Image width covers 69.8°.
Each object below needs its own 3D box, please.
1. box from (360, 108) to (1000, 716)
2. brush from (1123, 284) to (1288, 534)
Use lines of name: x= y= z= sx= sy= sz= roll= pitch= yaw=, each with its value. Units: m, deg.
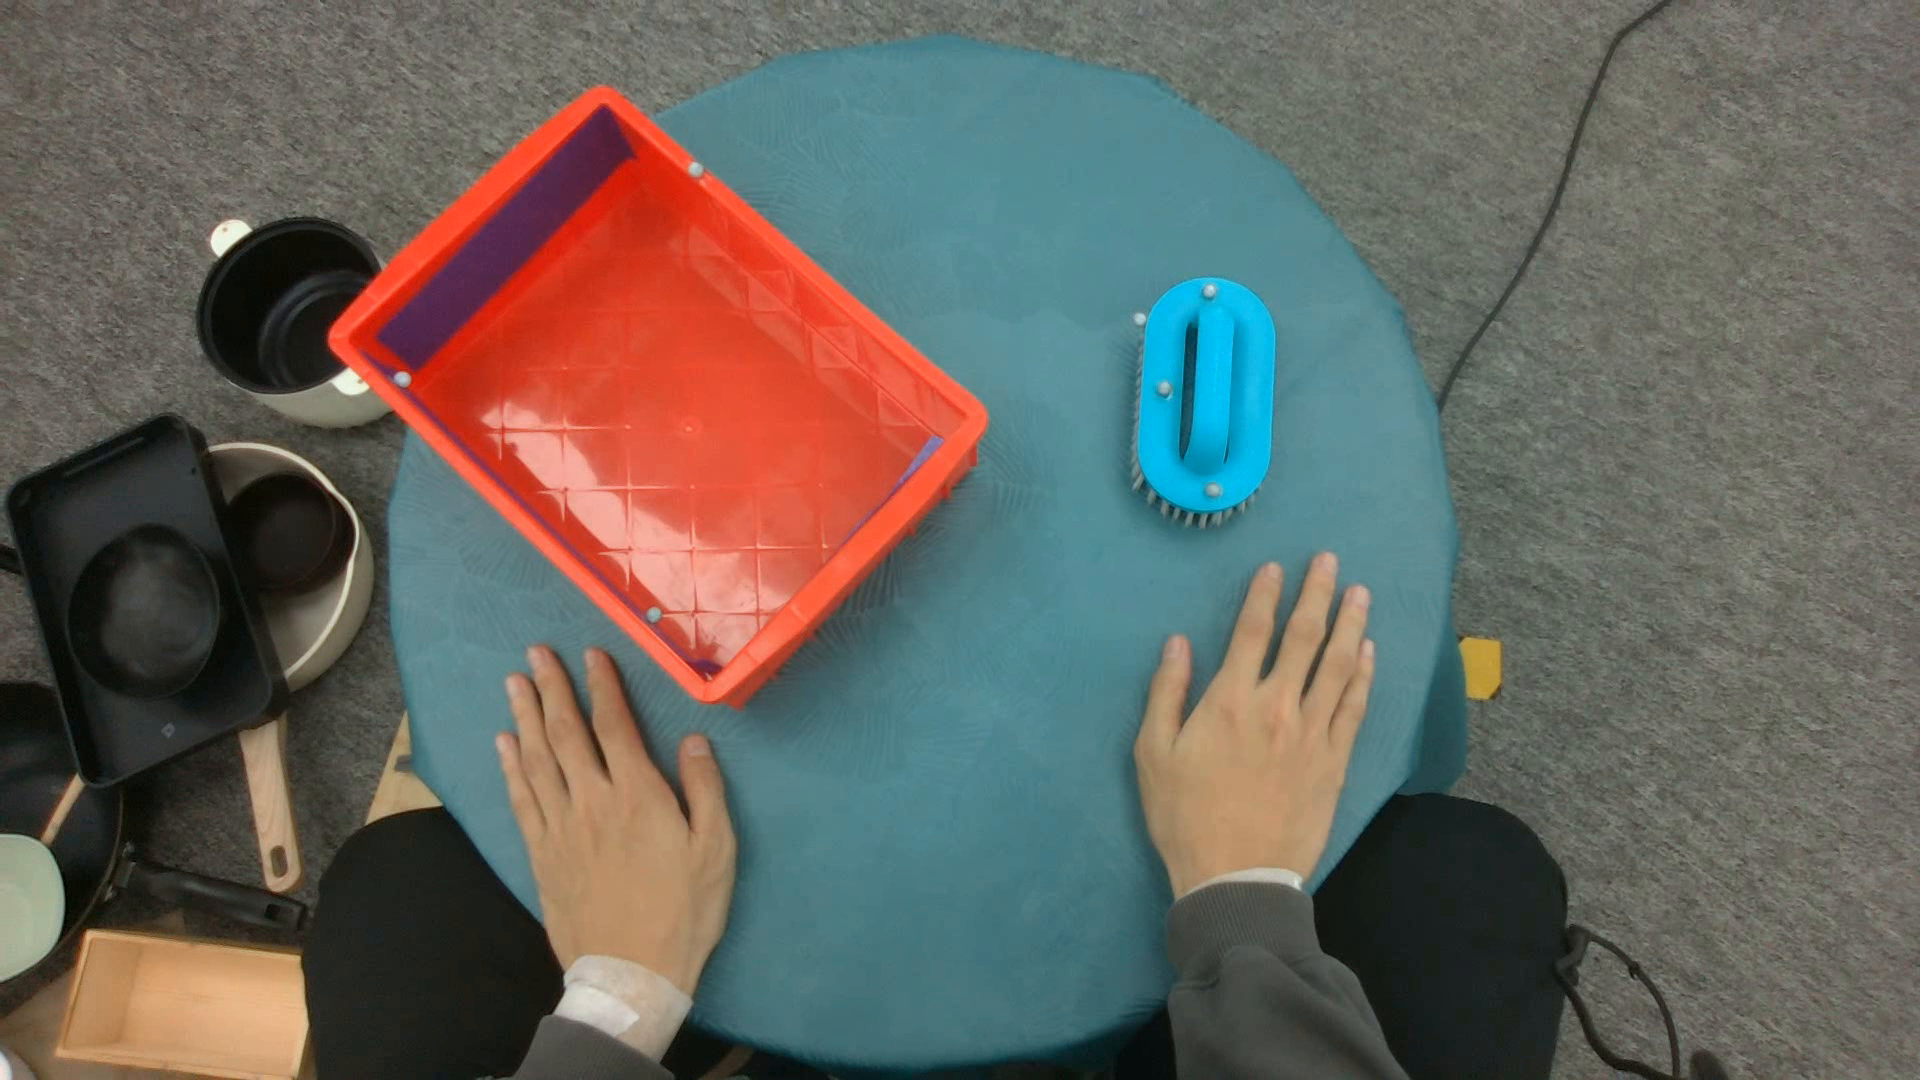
box: x=-0.149 y=-0.068 z=0.769 sx=0.304 sy=0.096 sz=0.207 roll=42 pitch=81 yaw=14
brush: x=0.139 y=-0.078 z=0.765 sx=0.084 sy=0.063 sz=0.142 roll=8 pitch=76 yaw=1
